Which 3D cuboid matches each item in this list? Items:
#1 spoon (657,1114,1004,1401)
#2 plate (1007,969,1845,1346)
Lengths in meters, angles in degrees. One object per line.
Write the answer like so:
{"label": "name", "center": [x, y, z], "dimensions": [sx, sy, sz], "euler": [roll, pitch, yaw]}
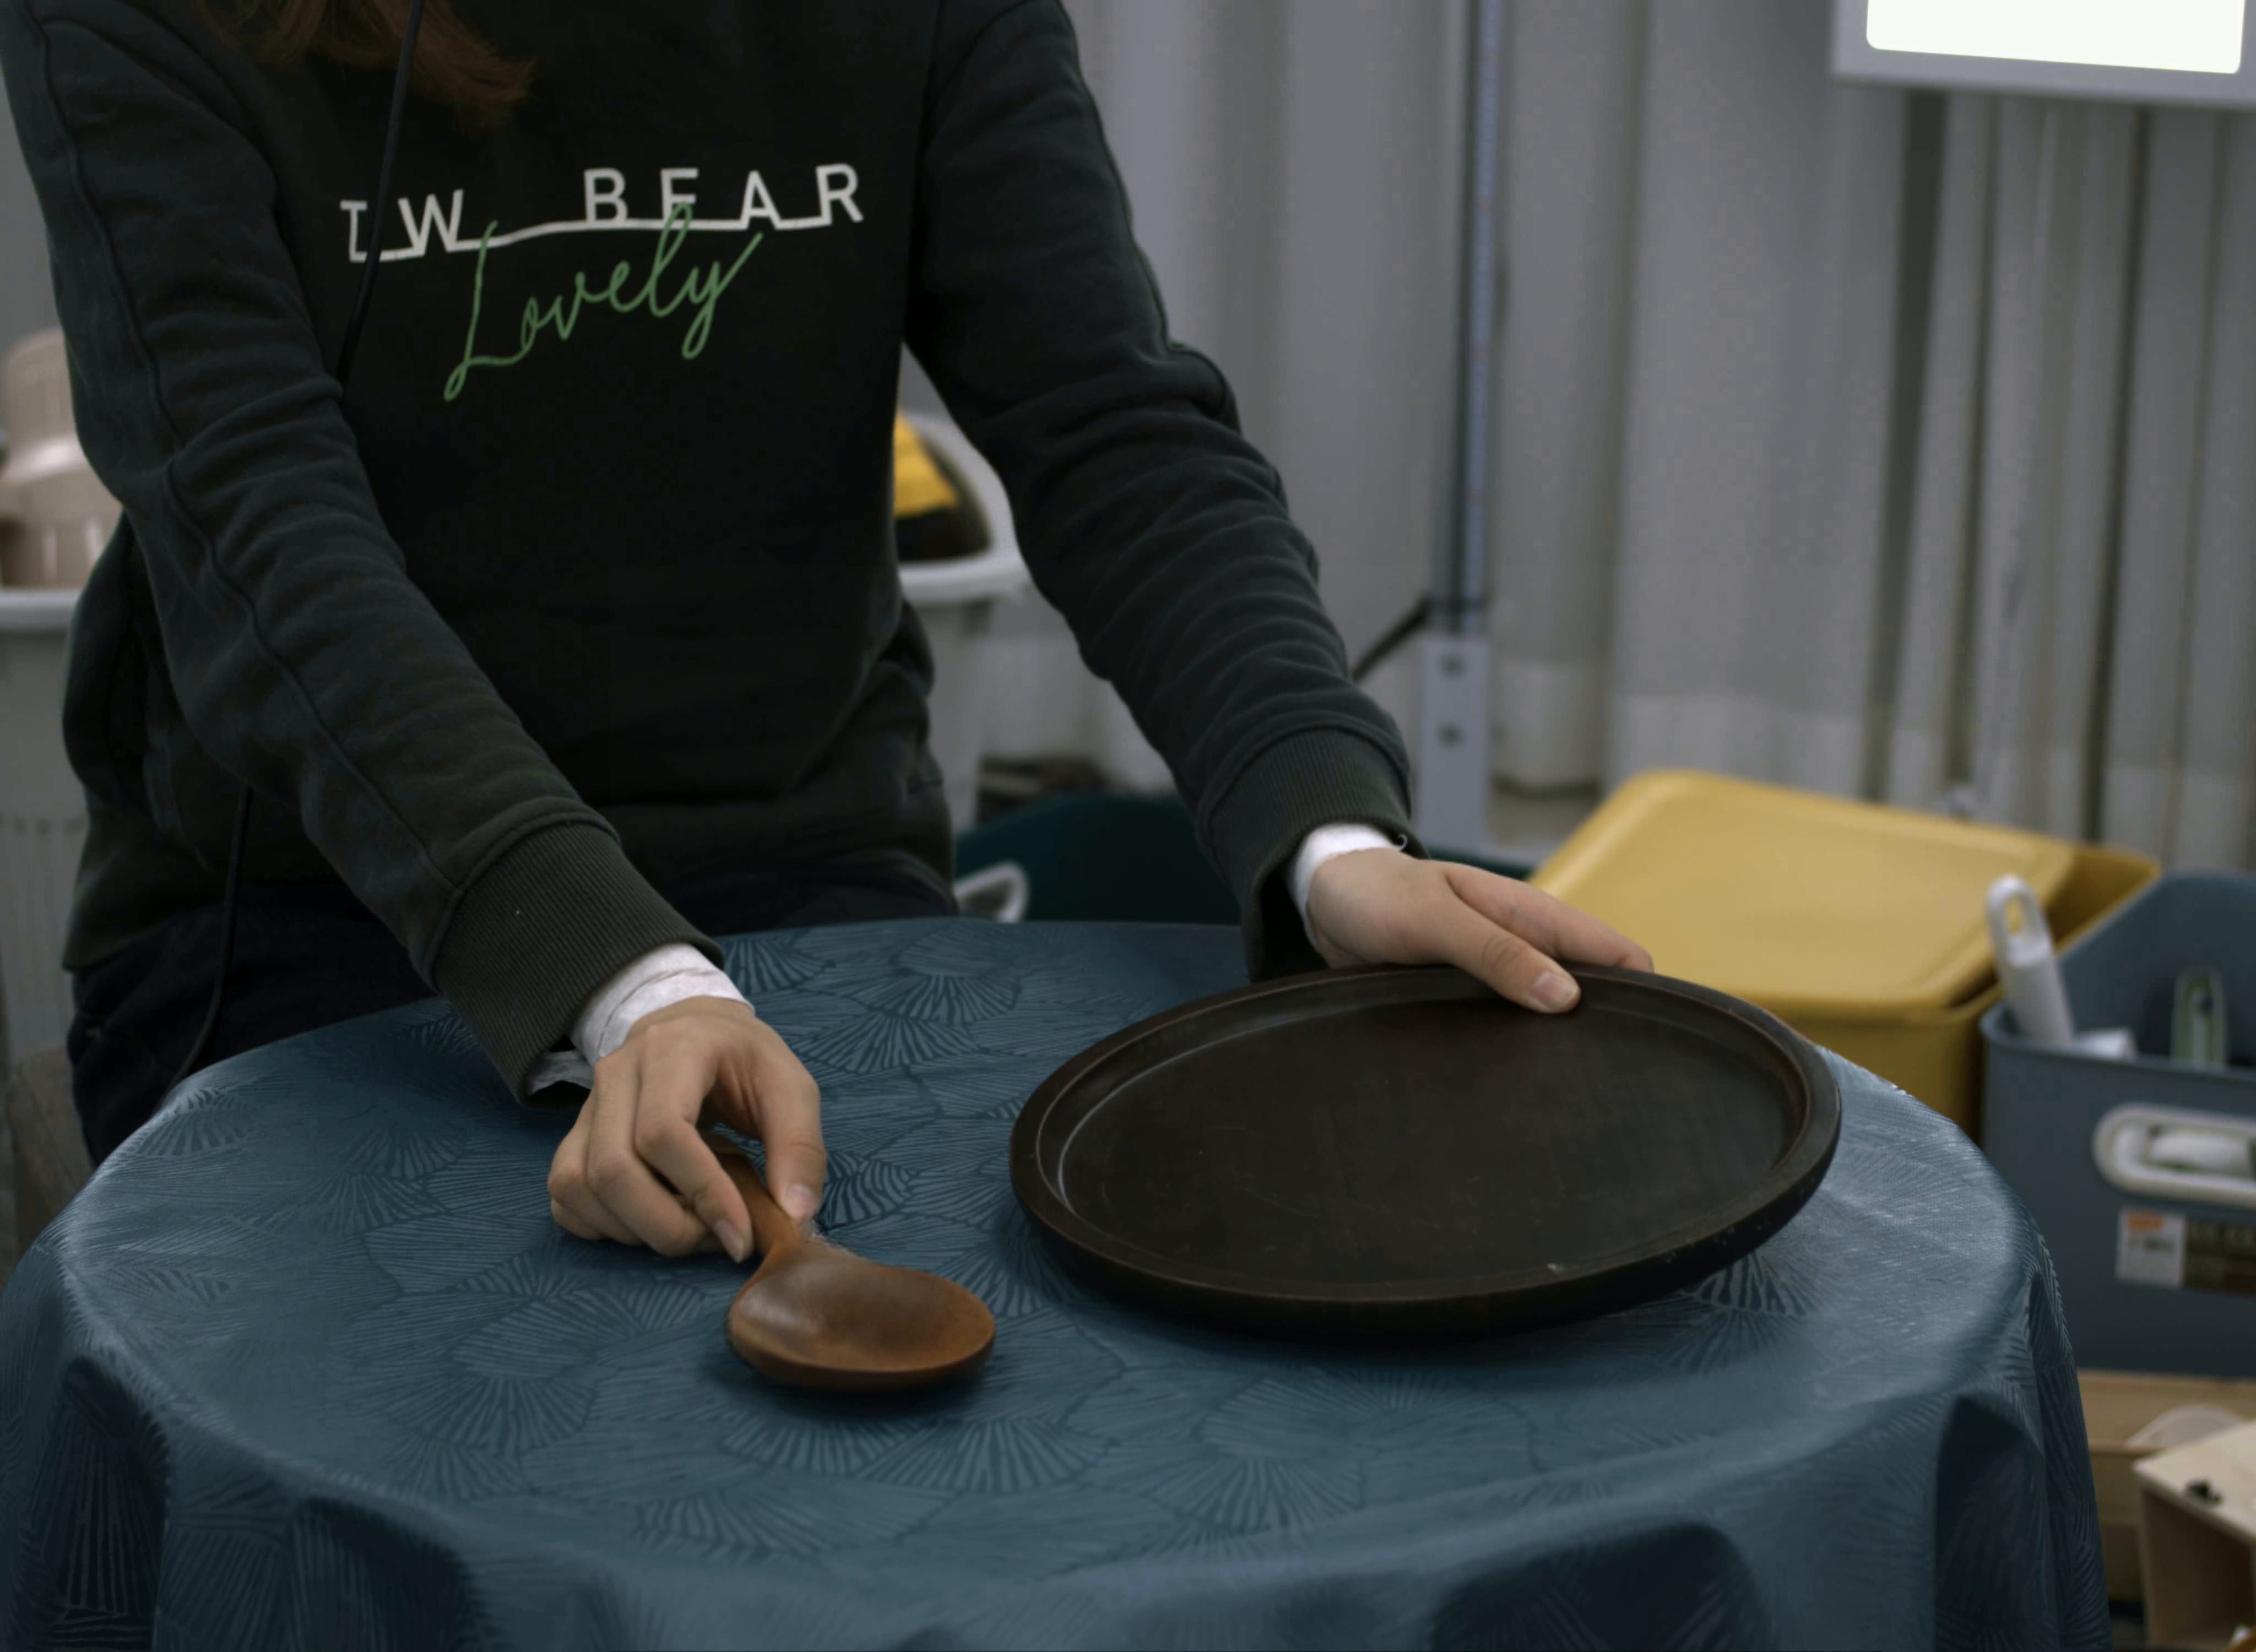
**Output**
{"label": "spoon", "center": [-0.097, 0.126, 1.535], "dimensions": [0.076, 0.017, 0.213], "euler": [-6, 19, -21]}
{"label": "plate", "center": [0.090, 0.097, 1.594], "dimensions": [0.254, 0.029, 0.253], "euler": [-3, 21, 2]}
